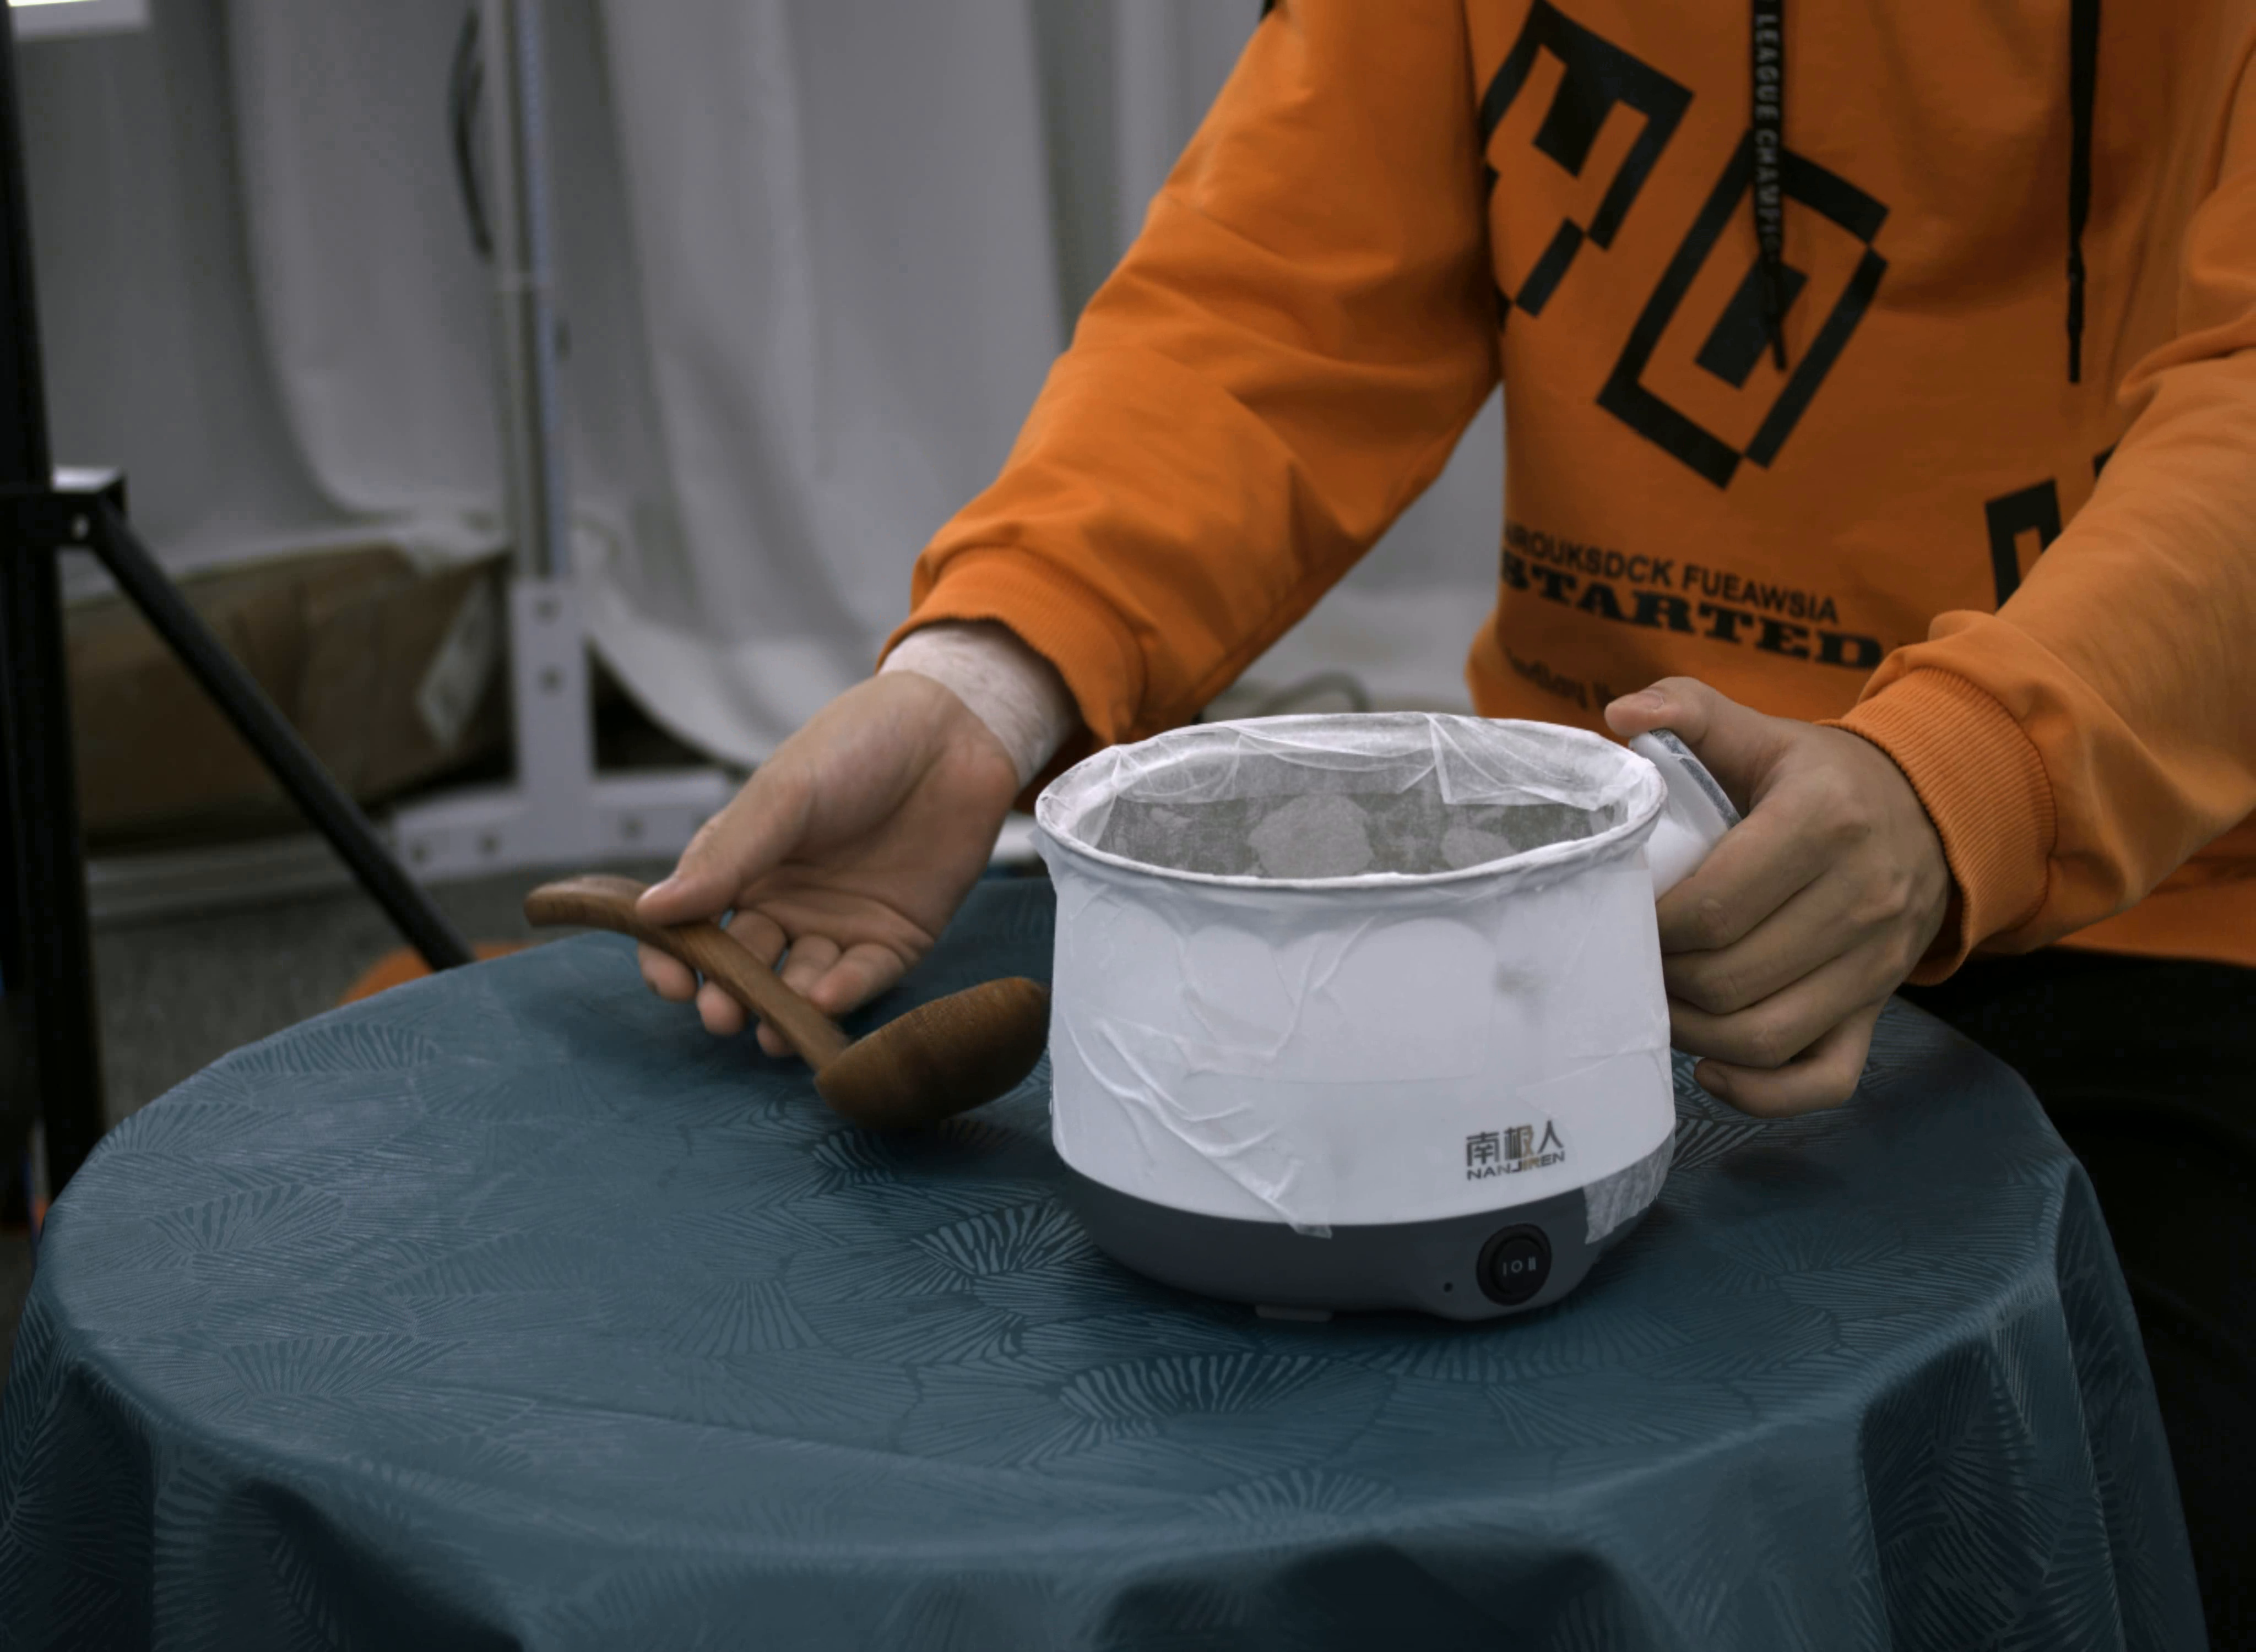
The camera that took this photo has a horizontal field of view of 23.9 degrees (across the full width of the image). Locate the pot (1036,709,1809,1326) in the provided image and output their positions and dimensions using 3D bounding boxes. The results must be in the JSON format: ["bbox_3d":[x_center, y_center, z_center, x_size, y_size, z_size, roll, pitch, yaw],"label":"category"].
[{"bbox_3d":[0.089,0.048,1.505,0.229,0.136,0.182,-10,18,-25],"label":"pot"}]

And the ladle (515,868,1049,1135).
[{"bbox_3d":[-0.118,0.038,1.676,0.074,0.065,0.266,-9,24,-35],"label":"ladle"}]
